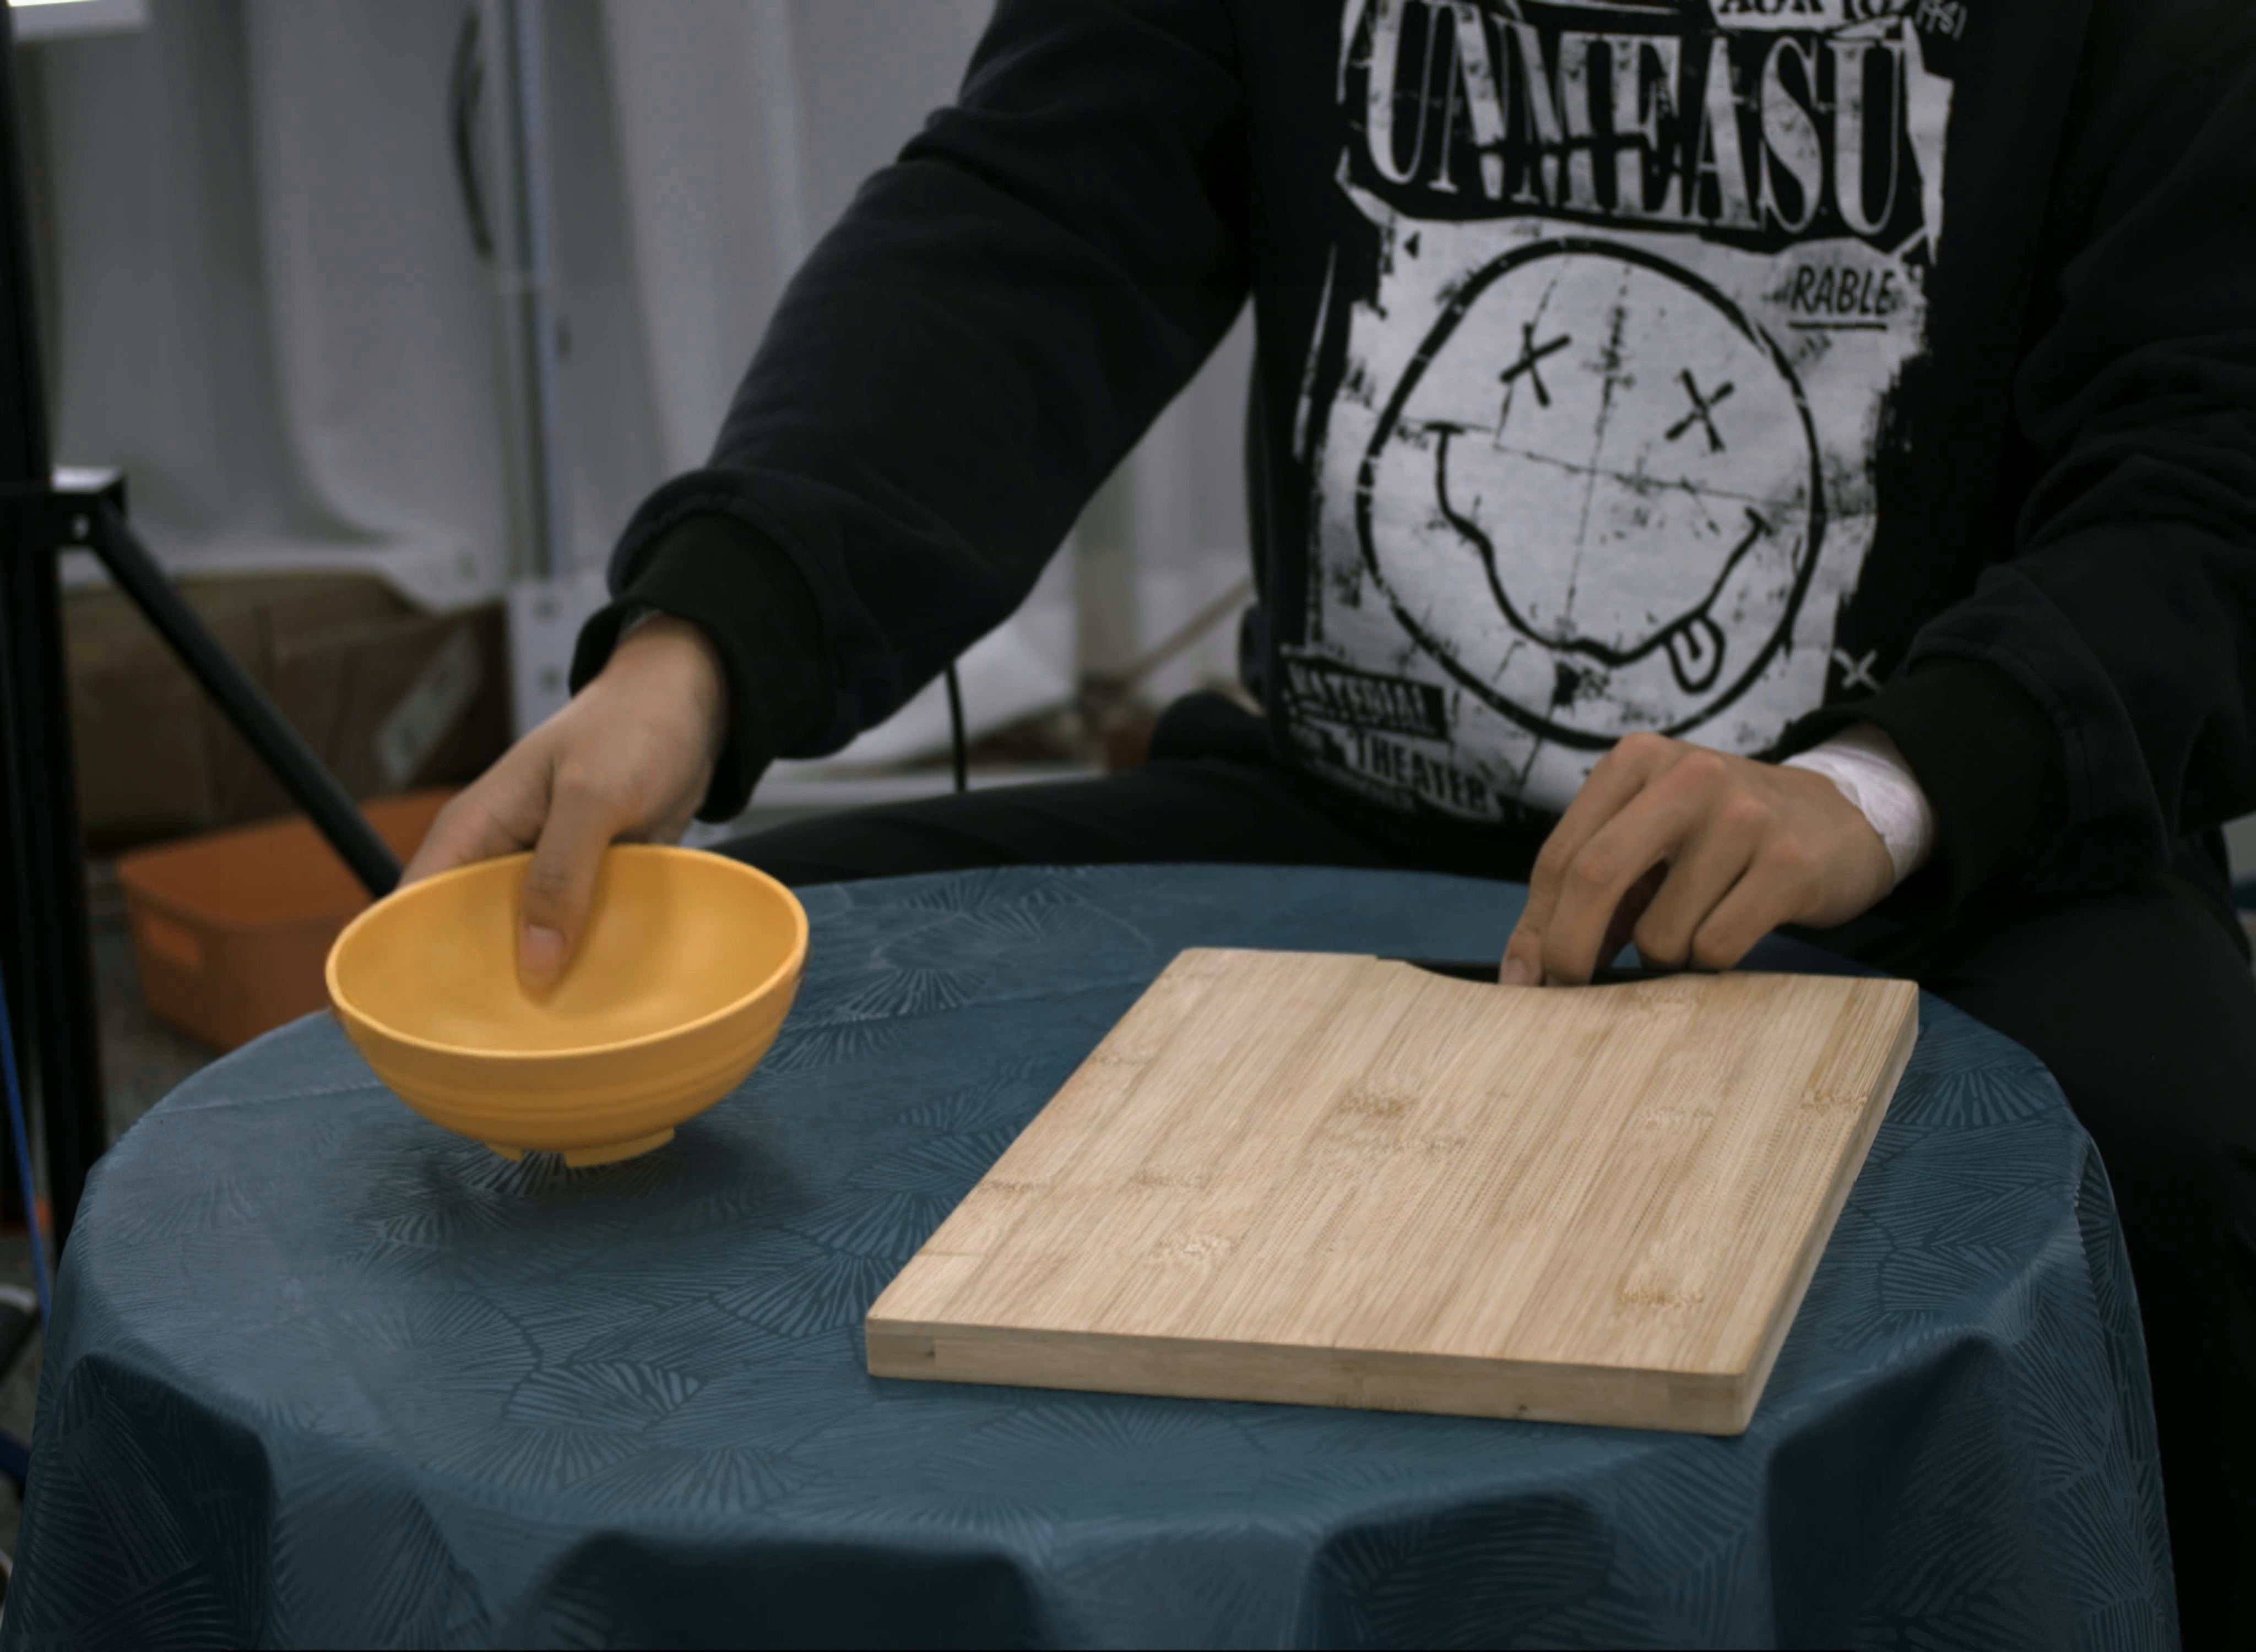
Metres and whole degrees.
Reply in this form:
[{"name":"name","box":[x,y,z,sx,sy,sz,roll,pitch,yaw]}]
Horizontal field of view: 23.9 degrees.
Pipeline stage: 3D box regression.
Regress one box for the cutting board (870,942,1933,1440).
[{"name":"cutting board","box":[0.092,0.098,1.547,0.253,0.023,0.346,2,17,15]}]

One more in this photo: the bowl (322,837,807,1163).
[{"name":"bowl","box":[-0.168,0.061,1.603,0.144,0.060,0.146,-1,25,-1]}]
